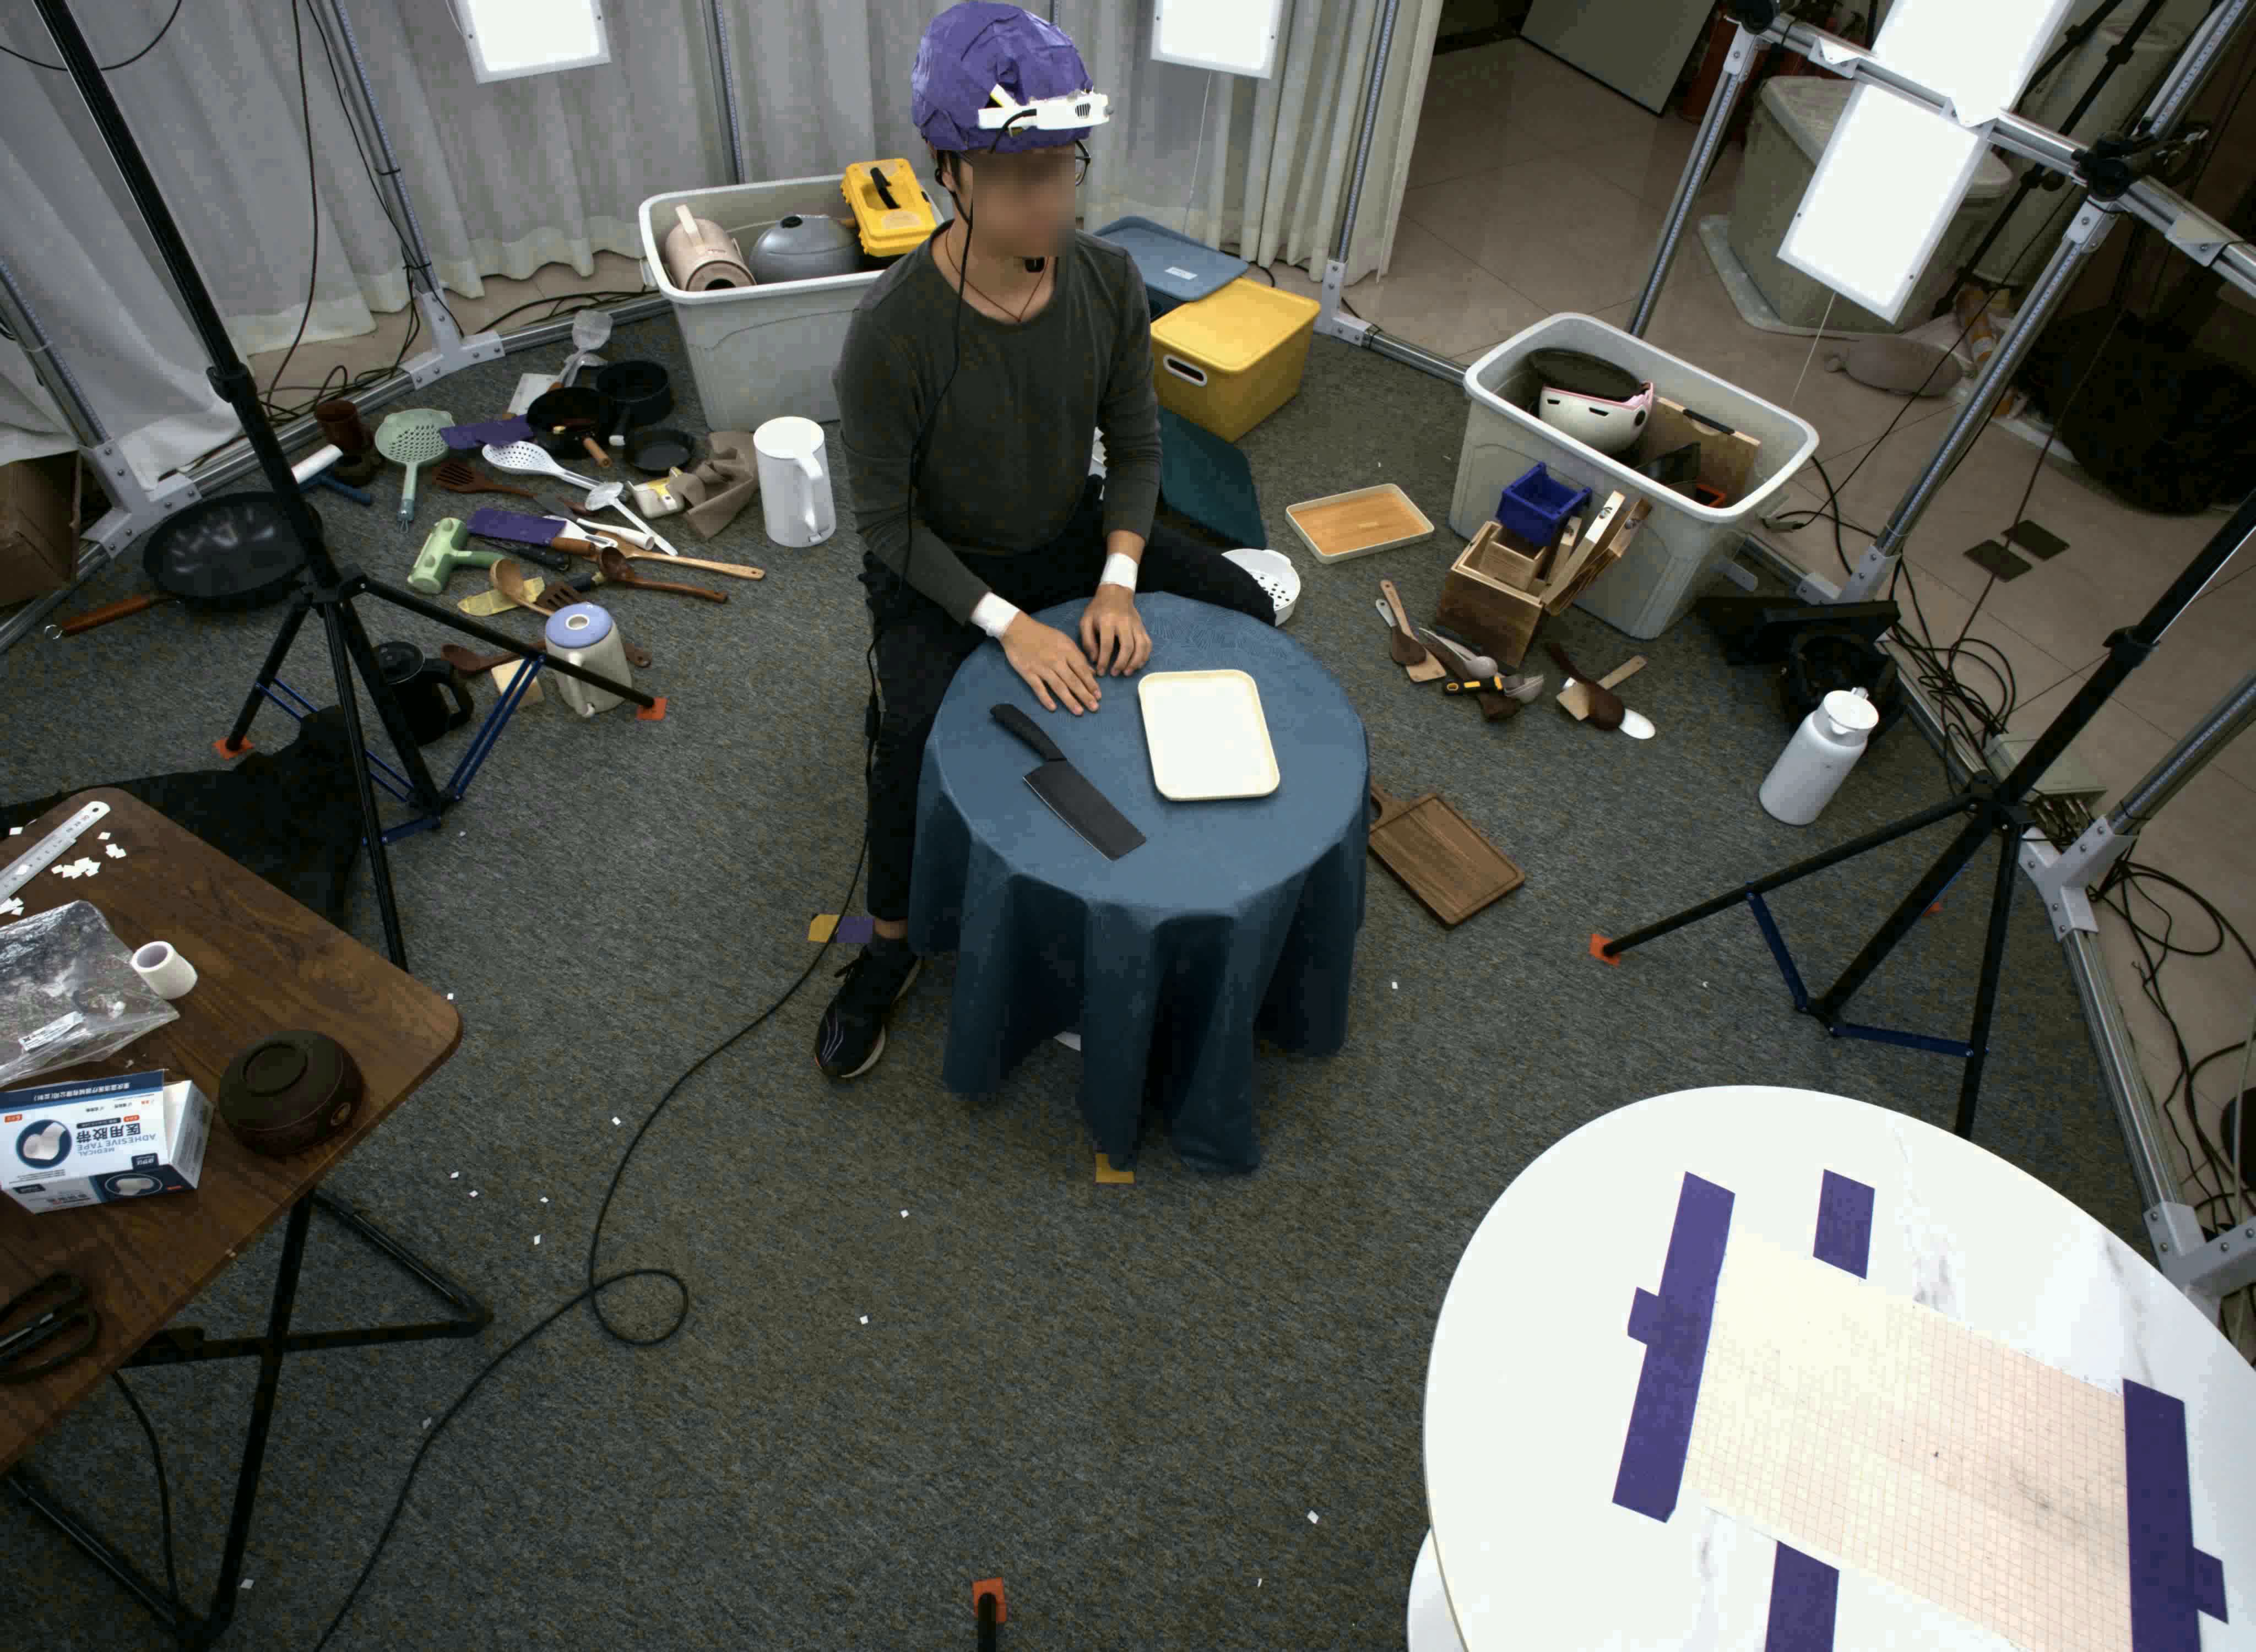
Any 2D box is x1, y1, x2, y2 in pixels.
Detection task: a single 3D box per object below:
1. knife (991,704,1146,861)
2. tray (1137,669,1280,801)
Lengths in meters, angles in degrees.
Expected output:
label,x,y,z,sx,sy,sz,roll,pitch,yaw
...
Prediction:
label,x,y,z,sx,sy,sz,roll,pitch,yaw
knife,-0.092,-0.064,1.708,0.081,0.020,0.308,-27,58,-23
tray,0.108,-0.127,1.774,0.171,0.017,0.246,-3,49,-7
